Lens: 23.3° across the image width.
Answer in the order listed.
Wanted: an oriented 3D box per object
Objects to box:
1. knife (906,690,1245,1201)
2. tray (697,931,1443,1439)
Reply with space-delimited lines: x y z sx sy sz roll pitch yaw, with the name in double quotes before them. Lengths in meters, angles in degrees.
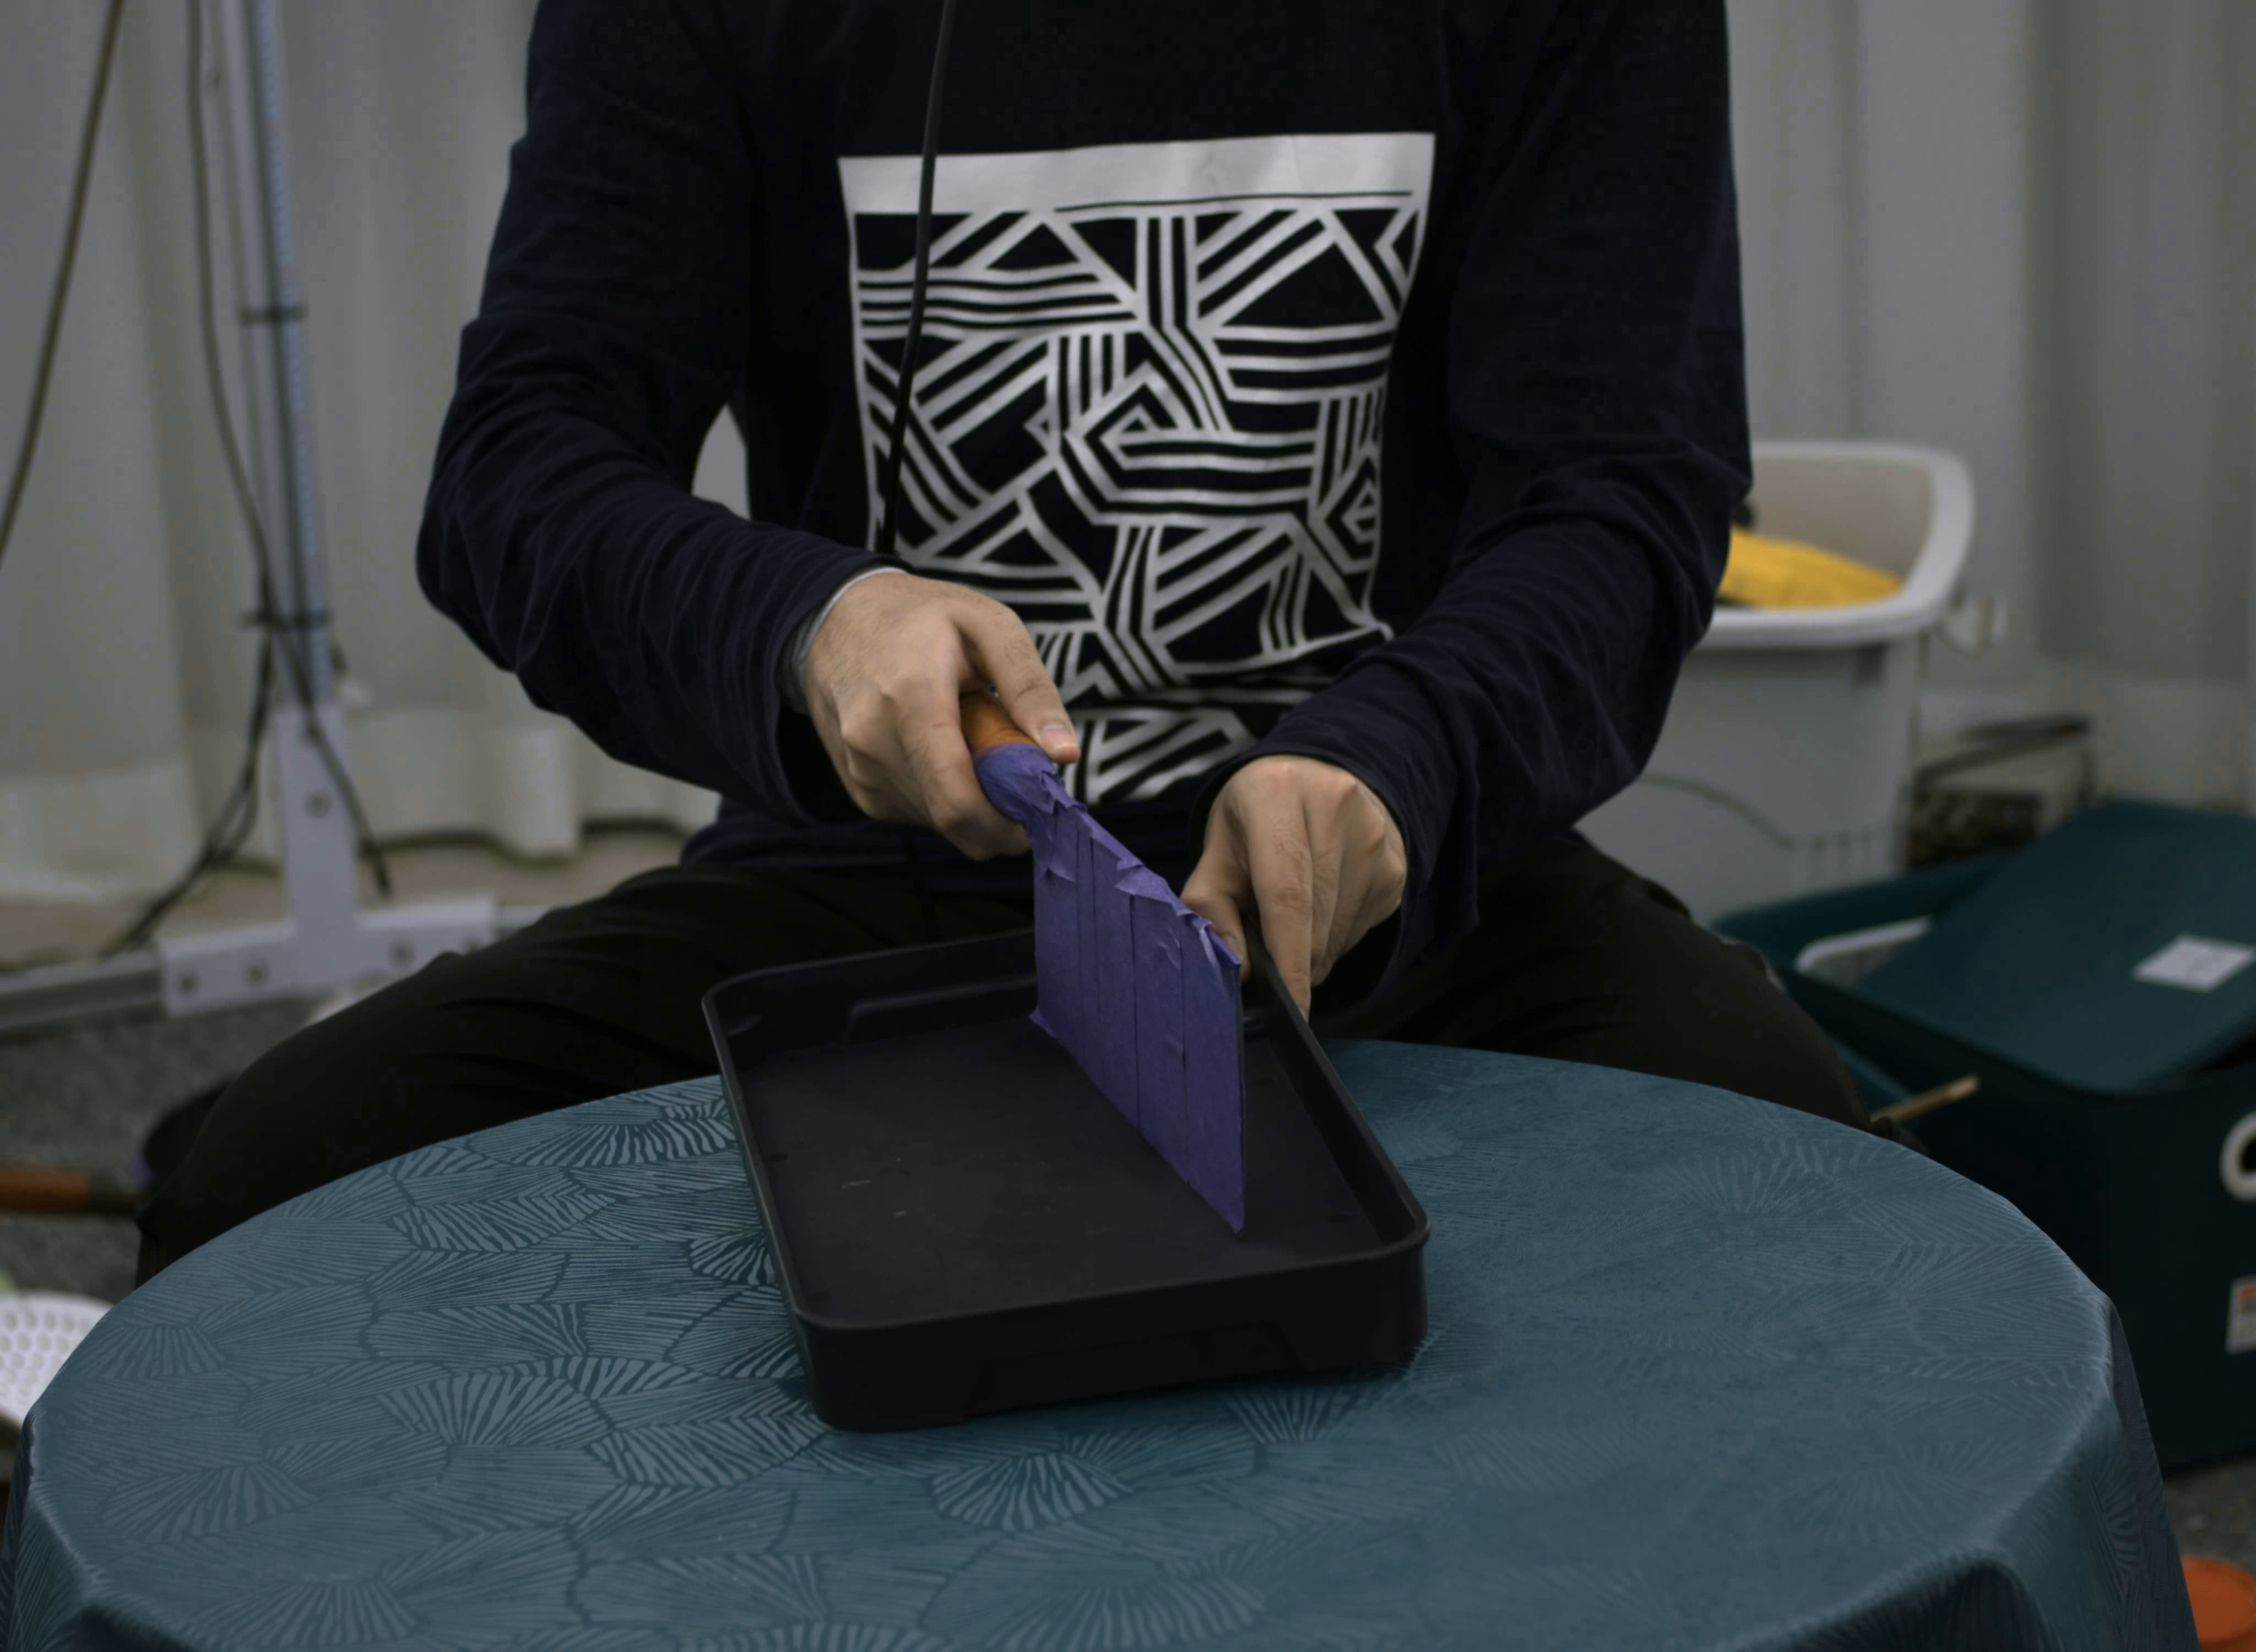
"knife" -0.019 0.036 1.748 0.032 0.103 0.318 -4 16 -16
"tray" -0.024 0.103 1.670 0.183 0.037 0.320 -9 16 -9
